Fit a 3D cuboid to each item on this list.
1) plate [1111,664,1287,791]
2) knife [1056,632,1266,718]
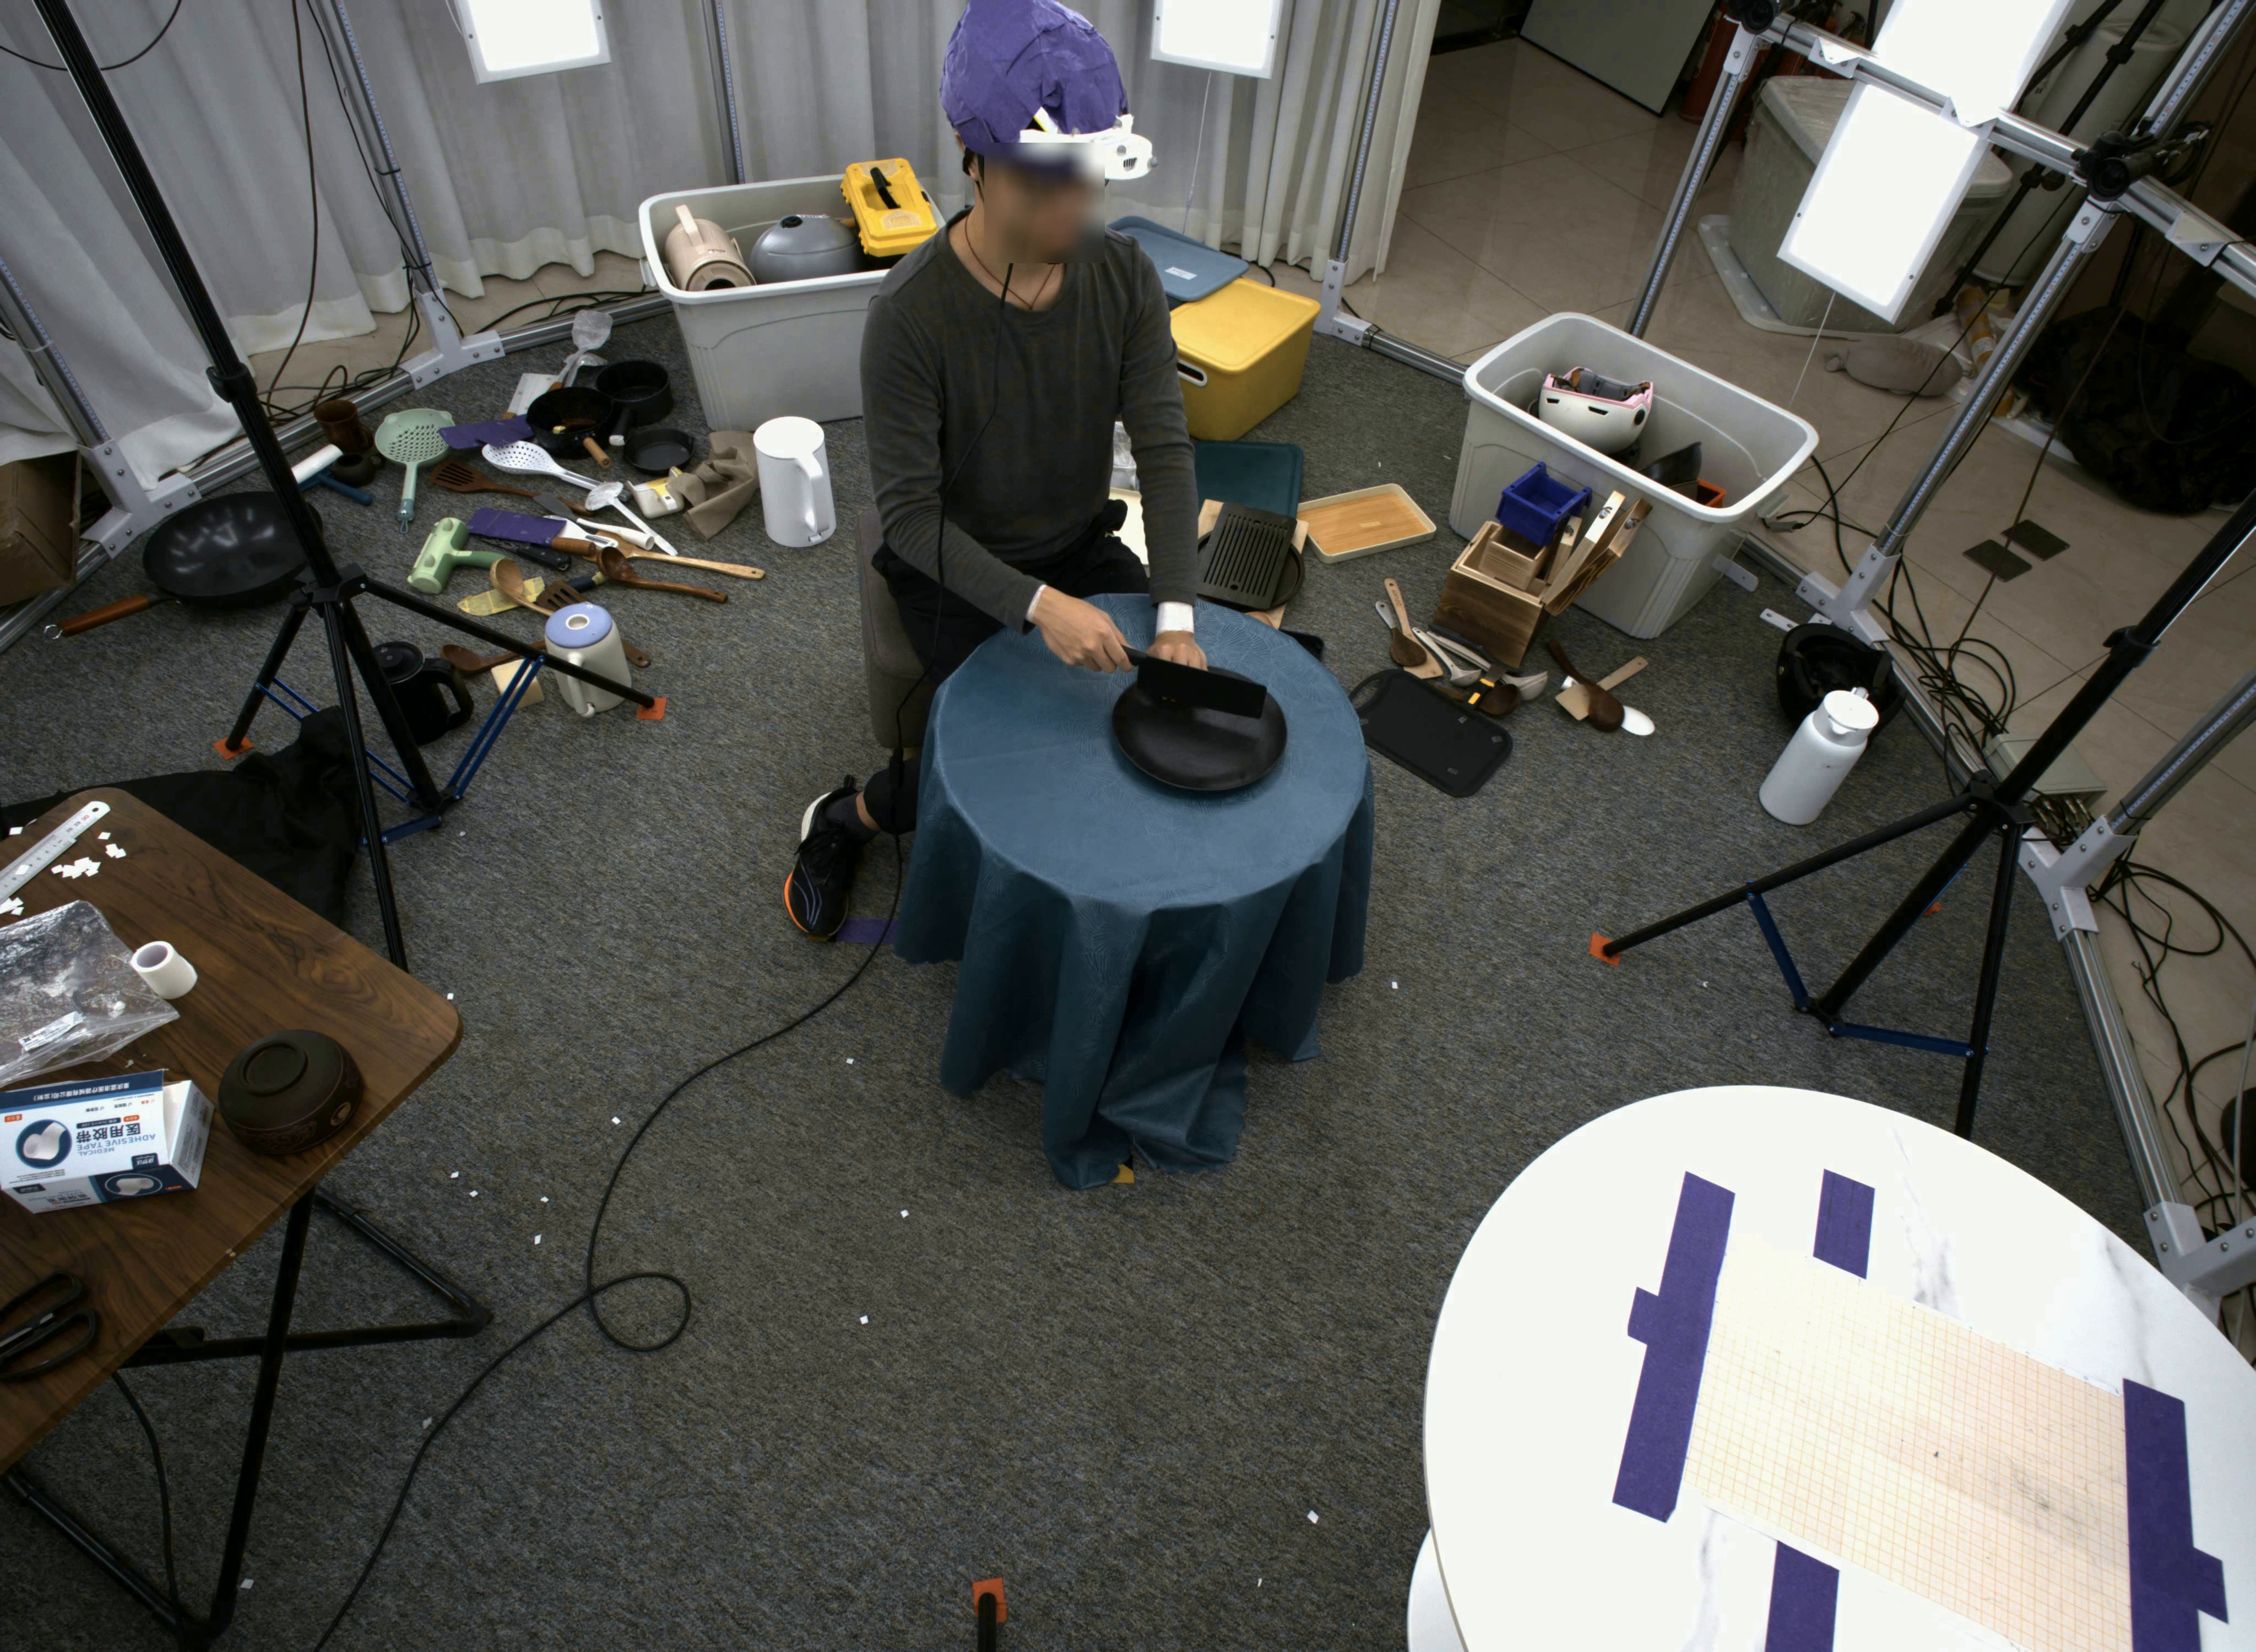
[{"bbox_3d":[0.098,-0.134,1.775,0.244,0.023,0.250,2,49,-2],"label":"plate"},{"bbox_3d":[0.044,-0.210,1.772,0.303,0.079,0.021,19,47,7],"label":"knife"}]
